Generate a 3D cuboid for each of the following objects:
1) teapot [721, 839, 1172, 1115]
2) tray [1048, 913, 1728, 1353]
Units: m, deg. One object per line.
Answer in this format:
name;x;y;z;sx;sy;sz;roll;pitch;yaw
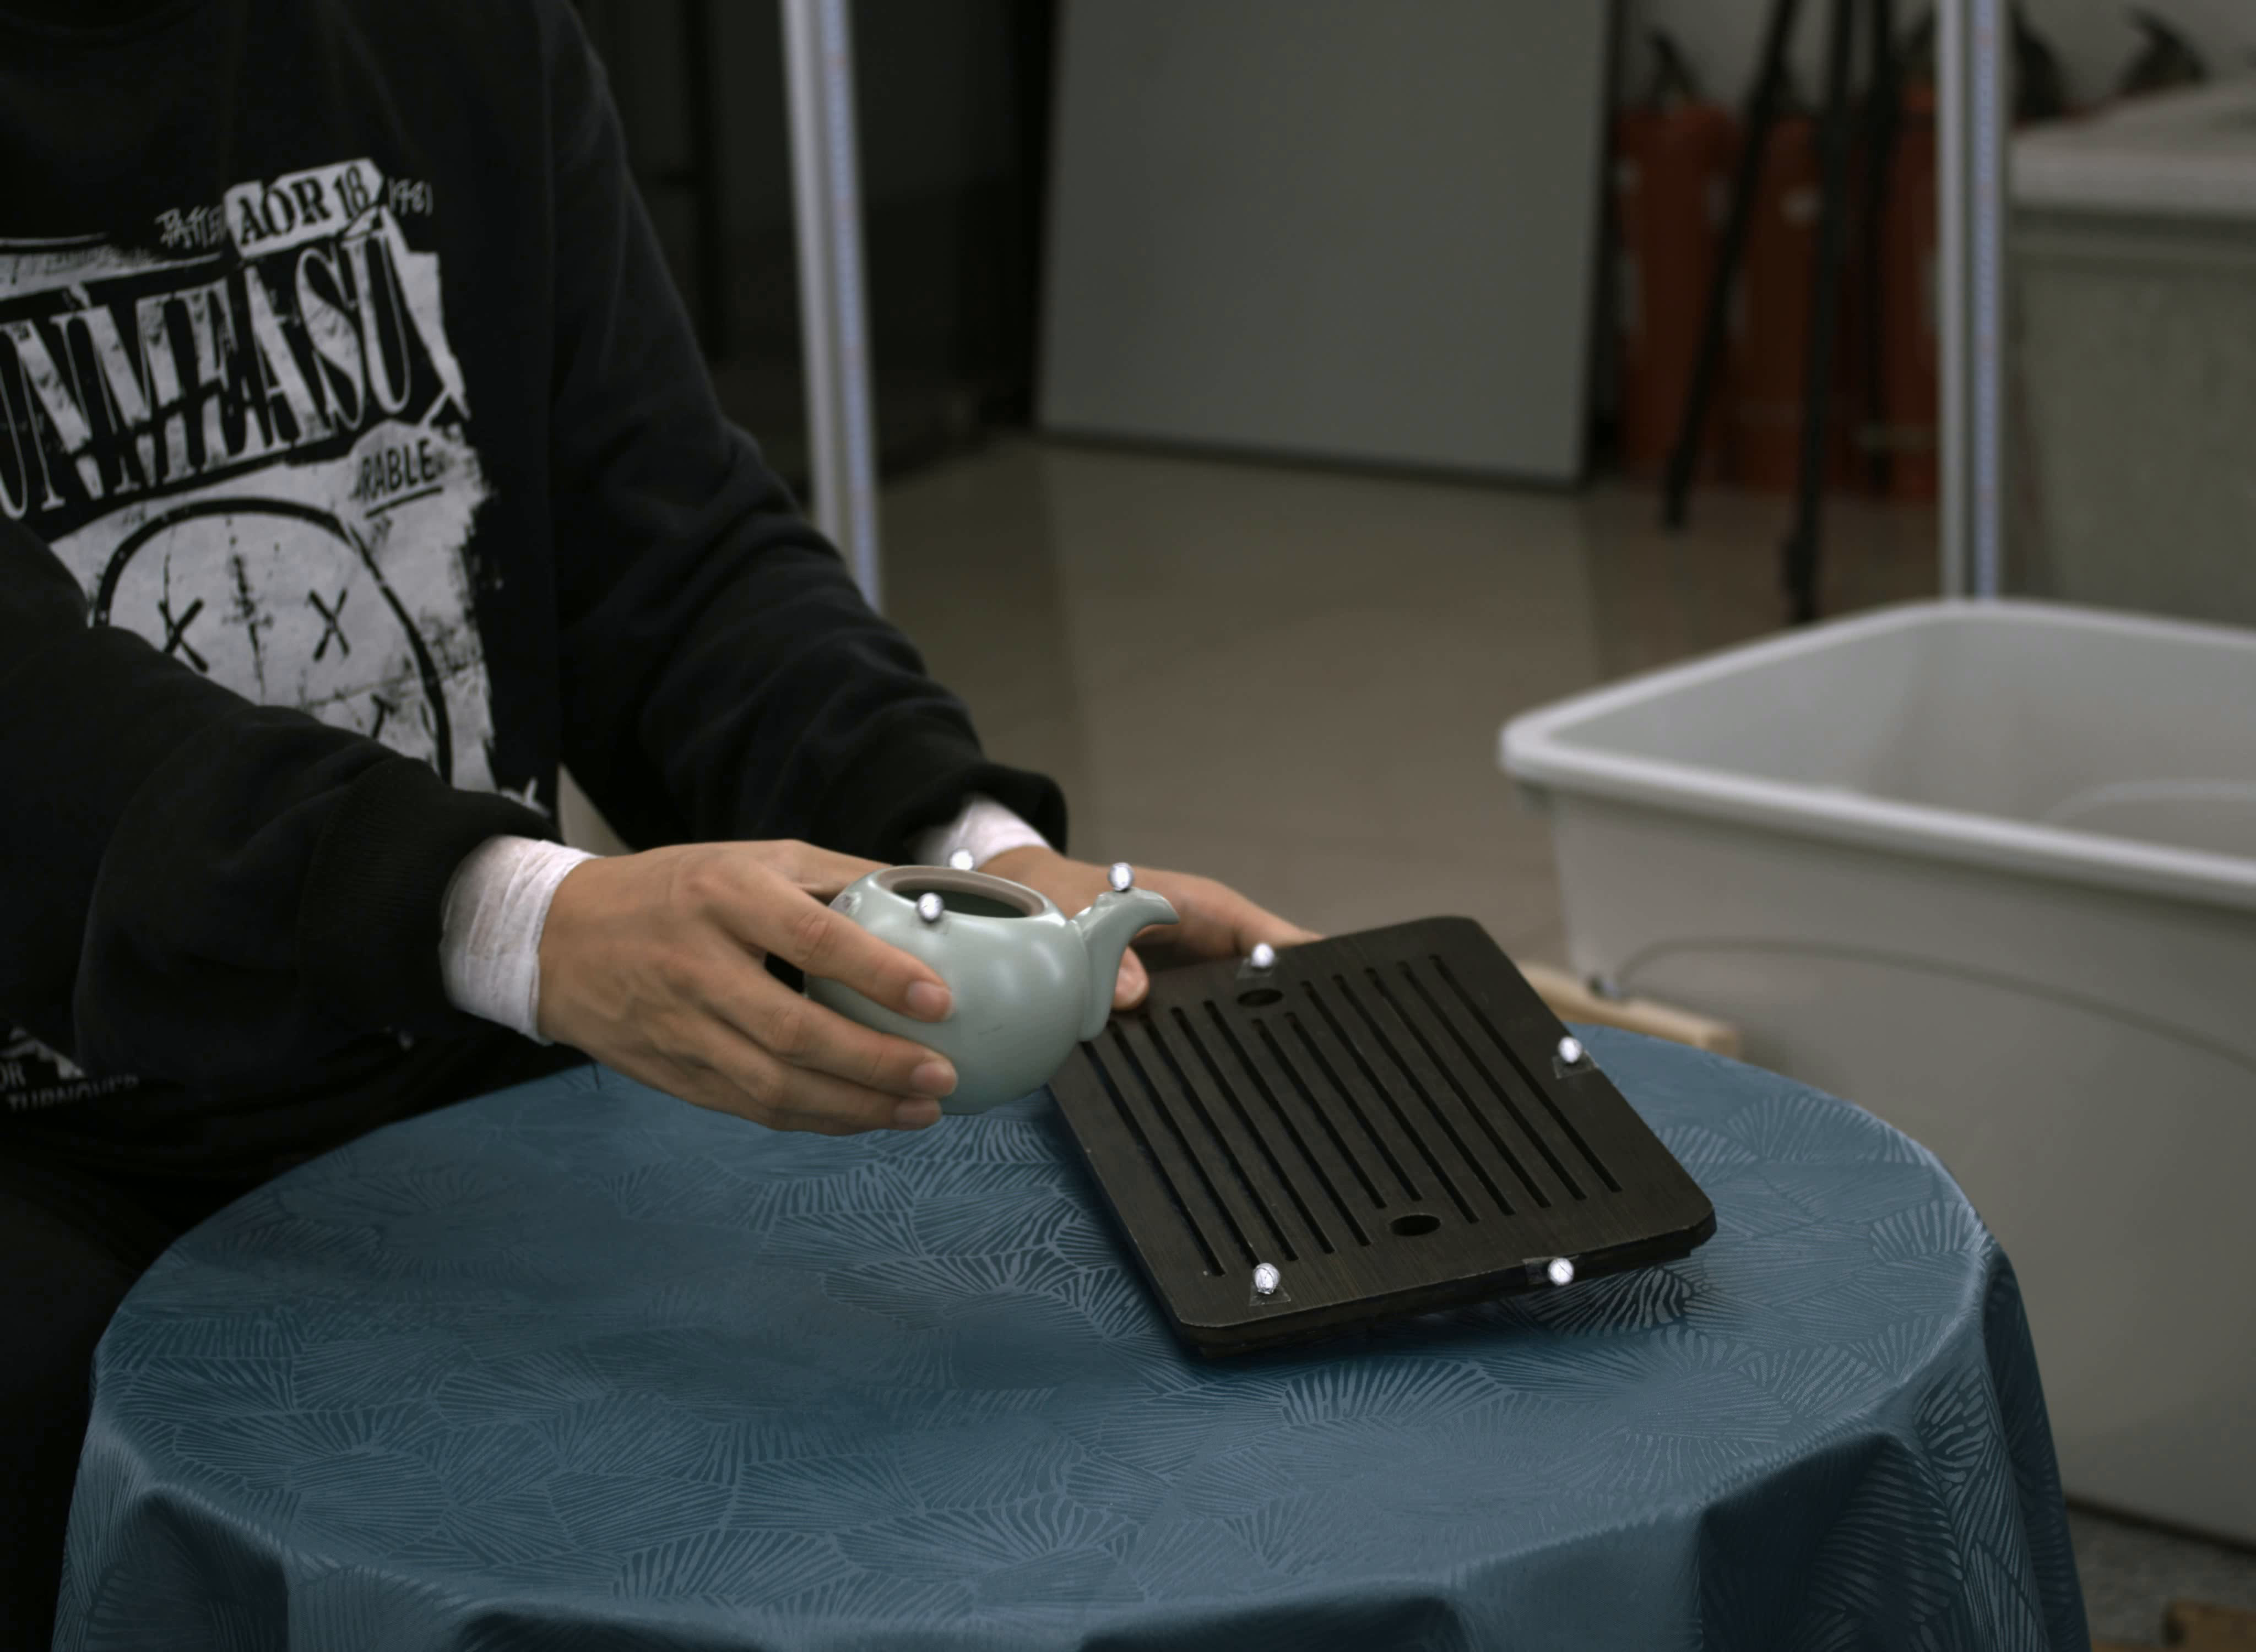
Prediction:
teapot;-0.058;0.047;1.652;0.141;0.075;0.089;8;12;-18
tray;0.074;0.096;1.749;0.167;0.019;0.308;-12;19;-7
